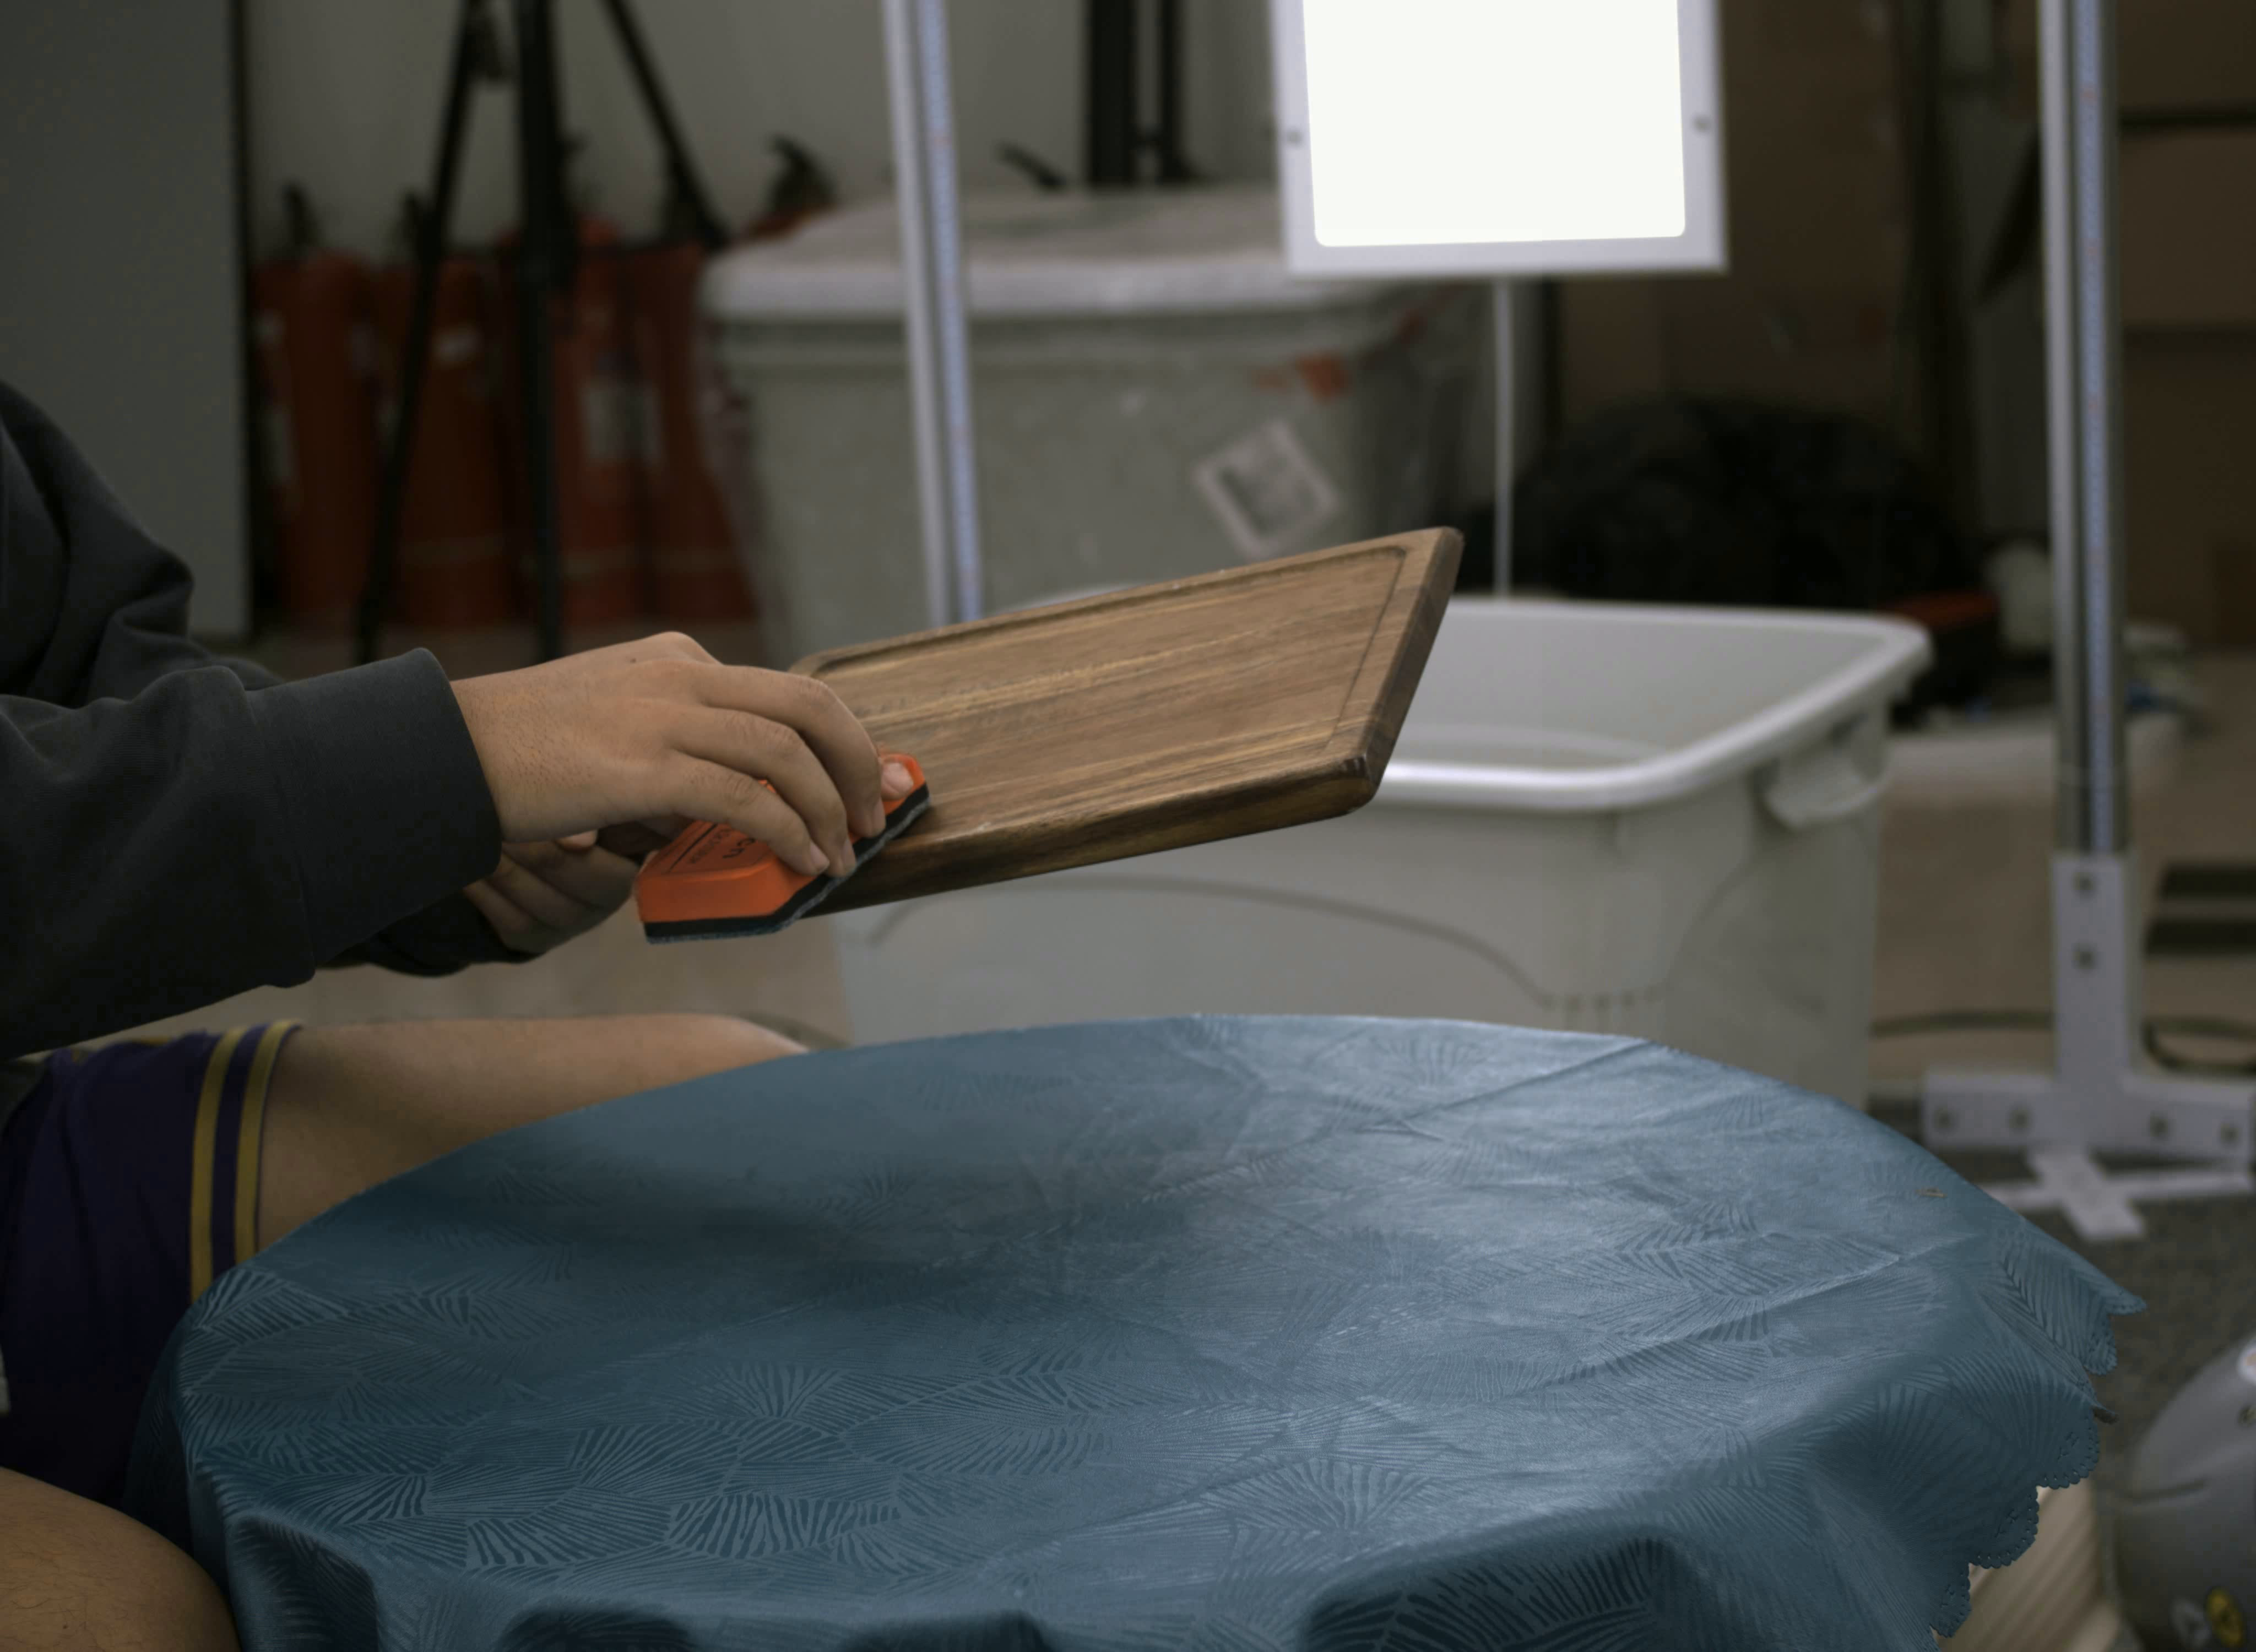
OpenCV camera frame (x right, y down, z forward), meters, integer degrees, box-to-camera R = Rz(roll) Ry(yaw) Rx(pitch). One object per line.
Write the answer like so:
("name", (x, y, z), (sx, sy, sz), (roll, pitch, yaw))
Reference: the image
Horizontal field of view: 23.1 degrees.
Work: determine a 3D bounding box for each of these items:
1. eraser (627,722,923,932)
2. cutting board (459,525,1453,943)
("eraser", (-0.115, 0.000, 1.801), (0.060, 0.023, 0.106), (-7, 23, 33))
("cutting board", (-0.067, -0.024, 1.885), (0.357, 0.023, 0.198), (-12, 23, 19))
